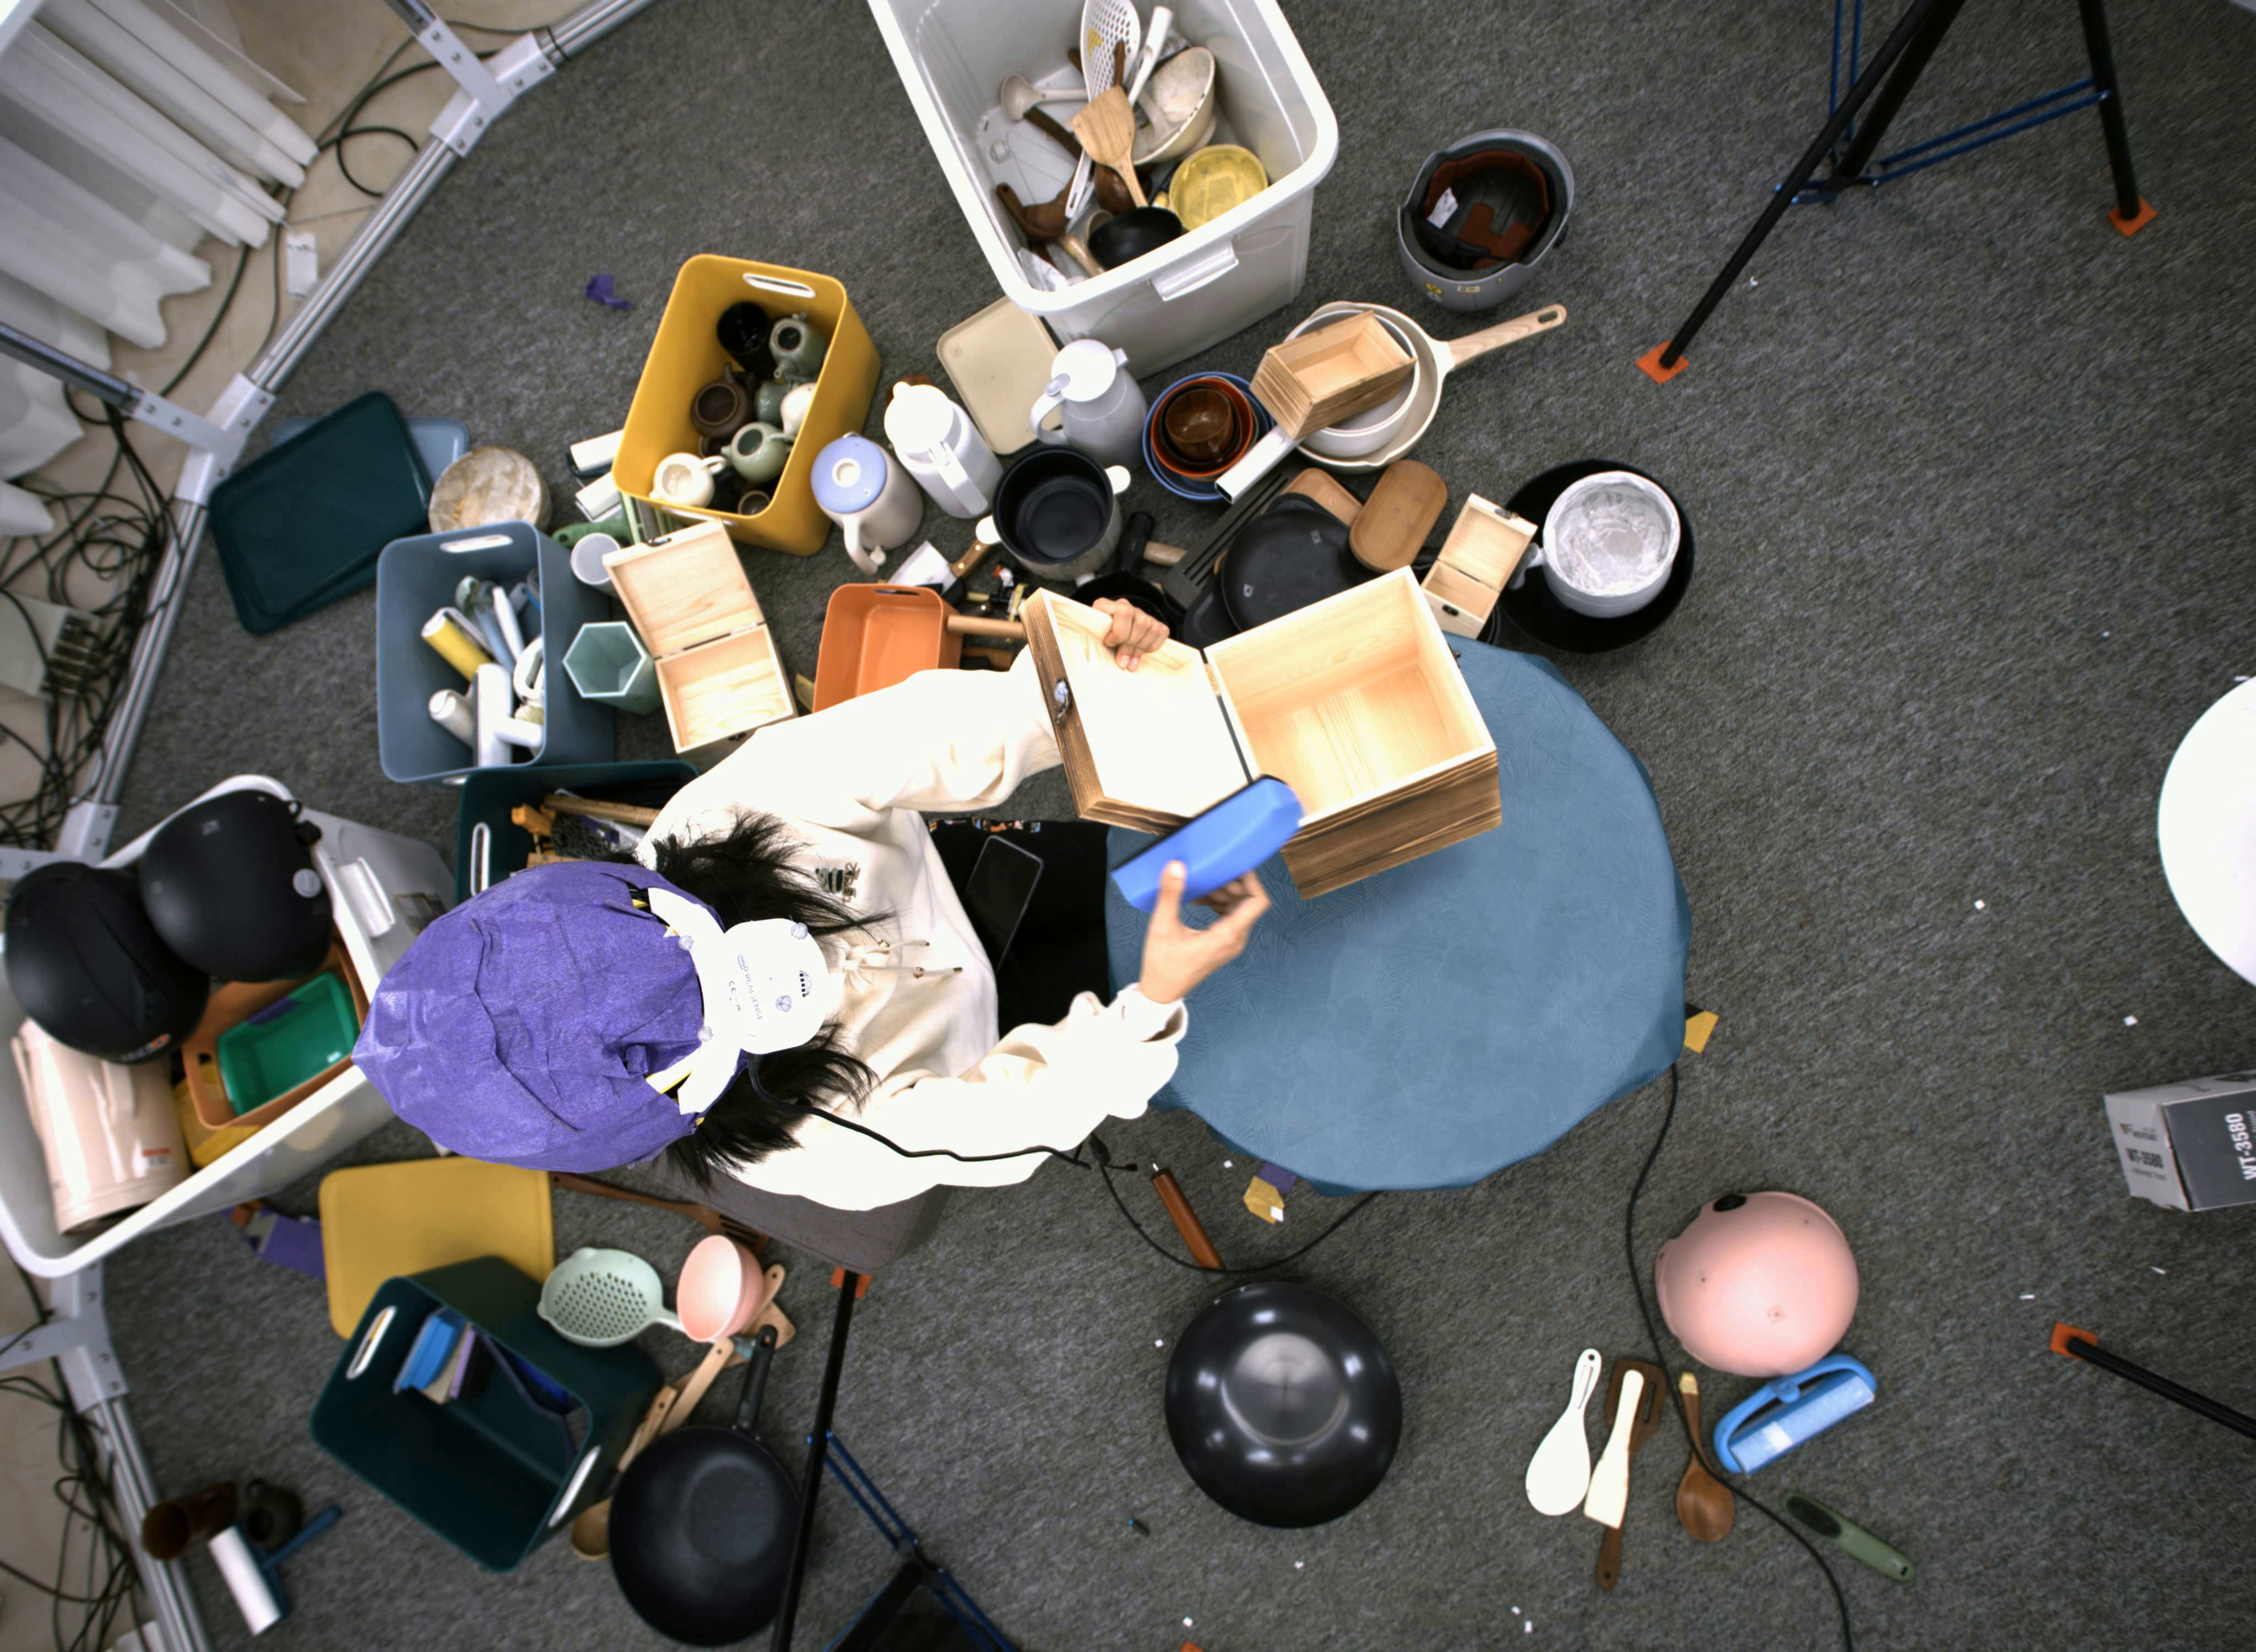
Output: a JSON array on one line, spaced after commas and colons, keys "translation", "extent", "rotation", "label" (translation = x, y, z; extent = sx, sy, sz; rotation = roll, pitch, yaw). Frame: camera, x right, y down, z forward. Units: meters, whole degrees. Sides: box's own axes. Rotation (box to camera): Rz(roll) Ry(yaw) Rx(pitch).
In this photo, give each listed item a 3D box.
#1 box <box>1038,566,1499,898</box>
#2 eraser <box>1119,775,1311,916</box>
[{"translation": [0.136, -0.097, 1.194], "extent": [0.324, 0.380, 0.205], "rotation": [-22, 64, 9], "label": "box"}, {"translation": [0.071, 0.022, 1.114], "extent": [0.164, 0.054, 0.046], "rotation": [-32, 57, 23], "label": "eraser"}]
